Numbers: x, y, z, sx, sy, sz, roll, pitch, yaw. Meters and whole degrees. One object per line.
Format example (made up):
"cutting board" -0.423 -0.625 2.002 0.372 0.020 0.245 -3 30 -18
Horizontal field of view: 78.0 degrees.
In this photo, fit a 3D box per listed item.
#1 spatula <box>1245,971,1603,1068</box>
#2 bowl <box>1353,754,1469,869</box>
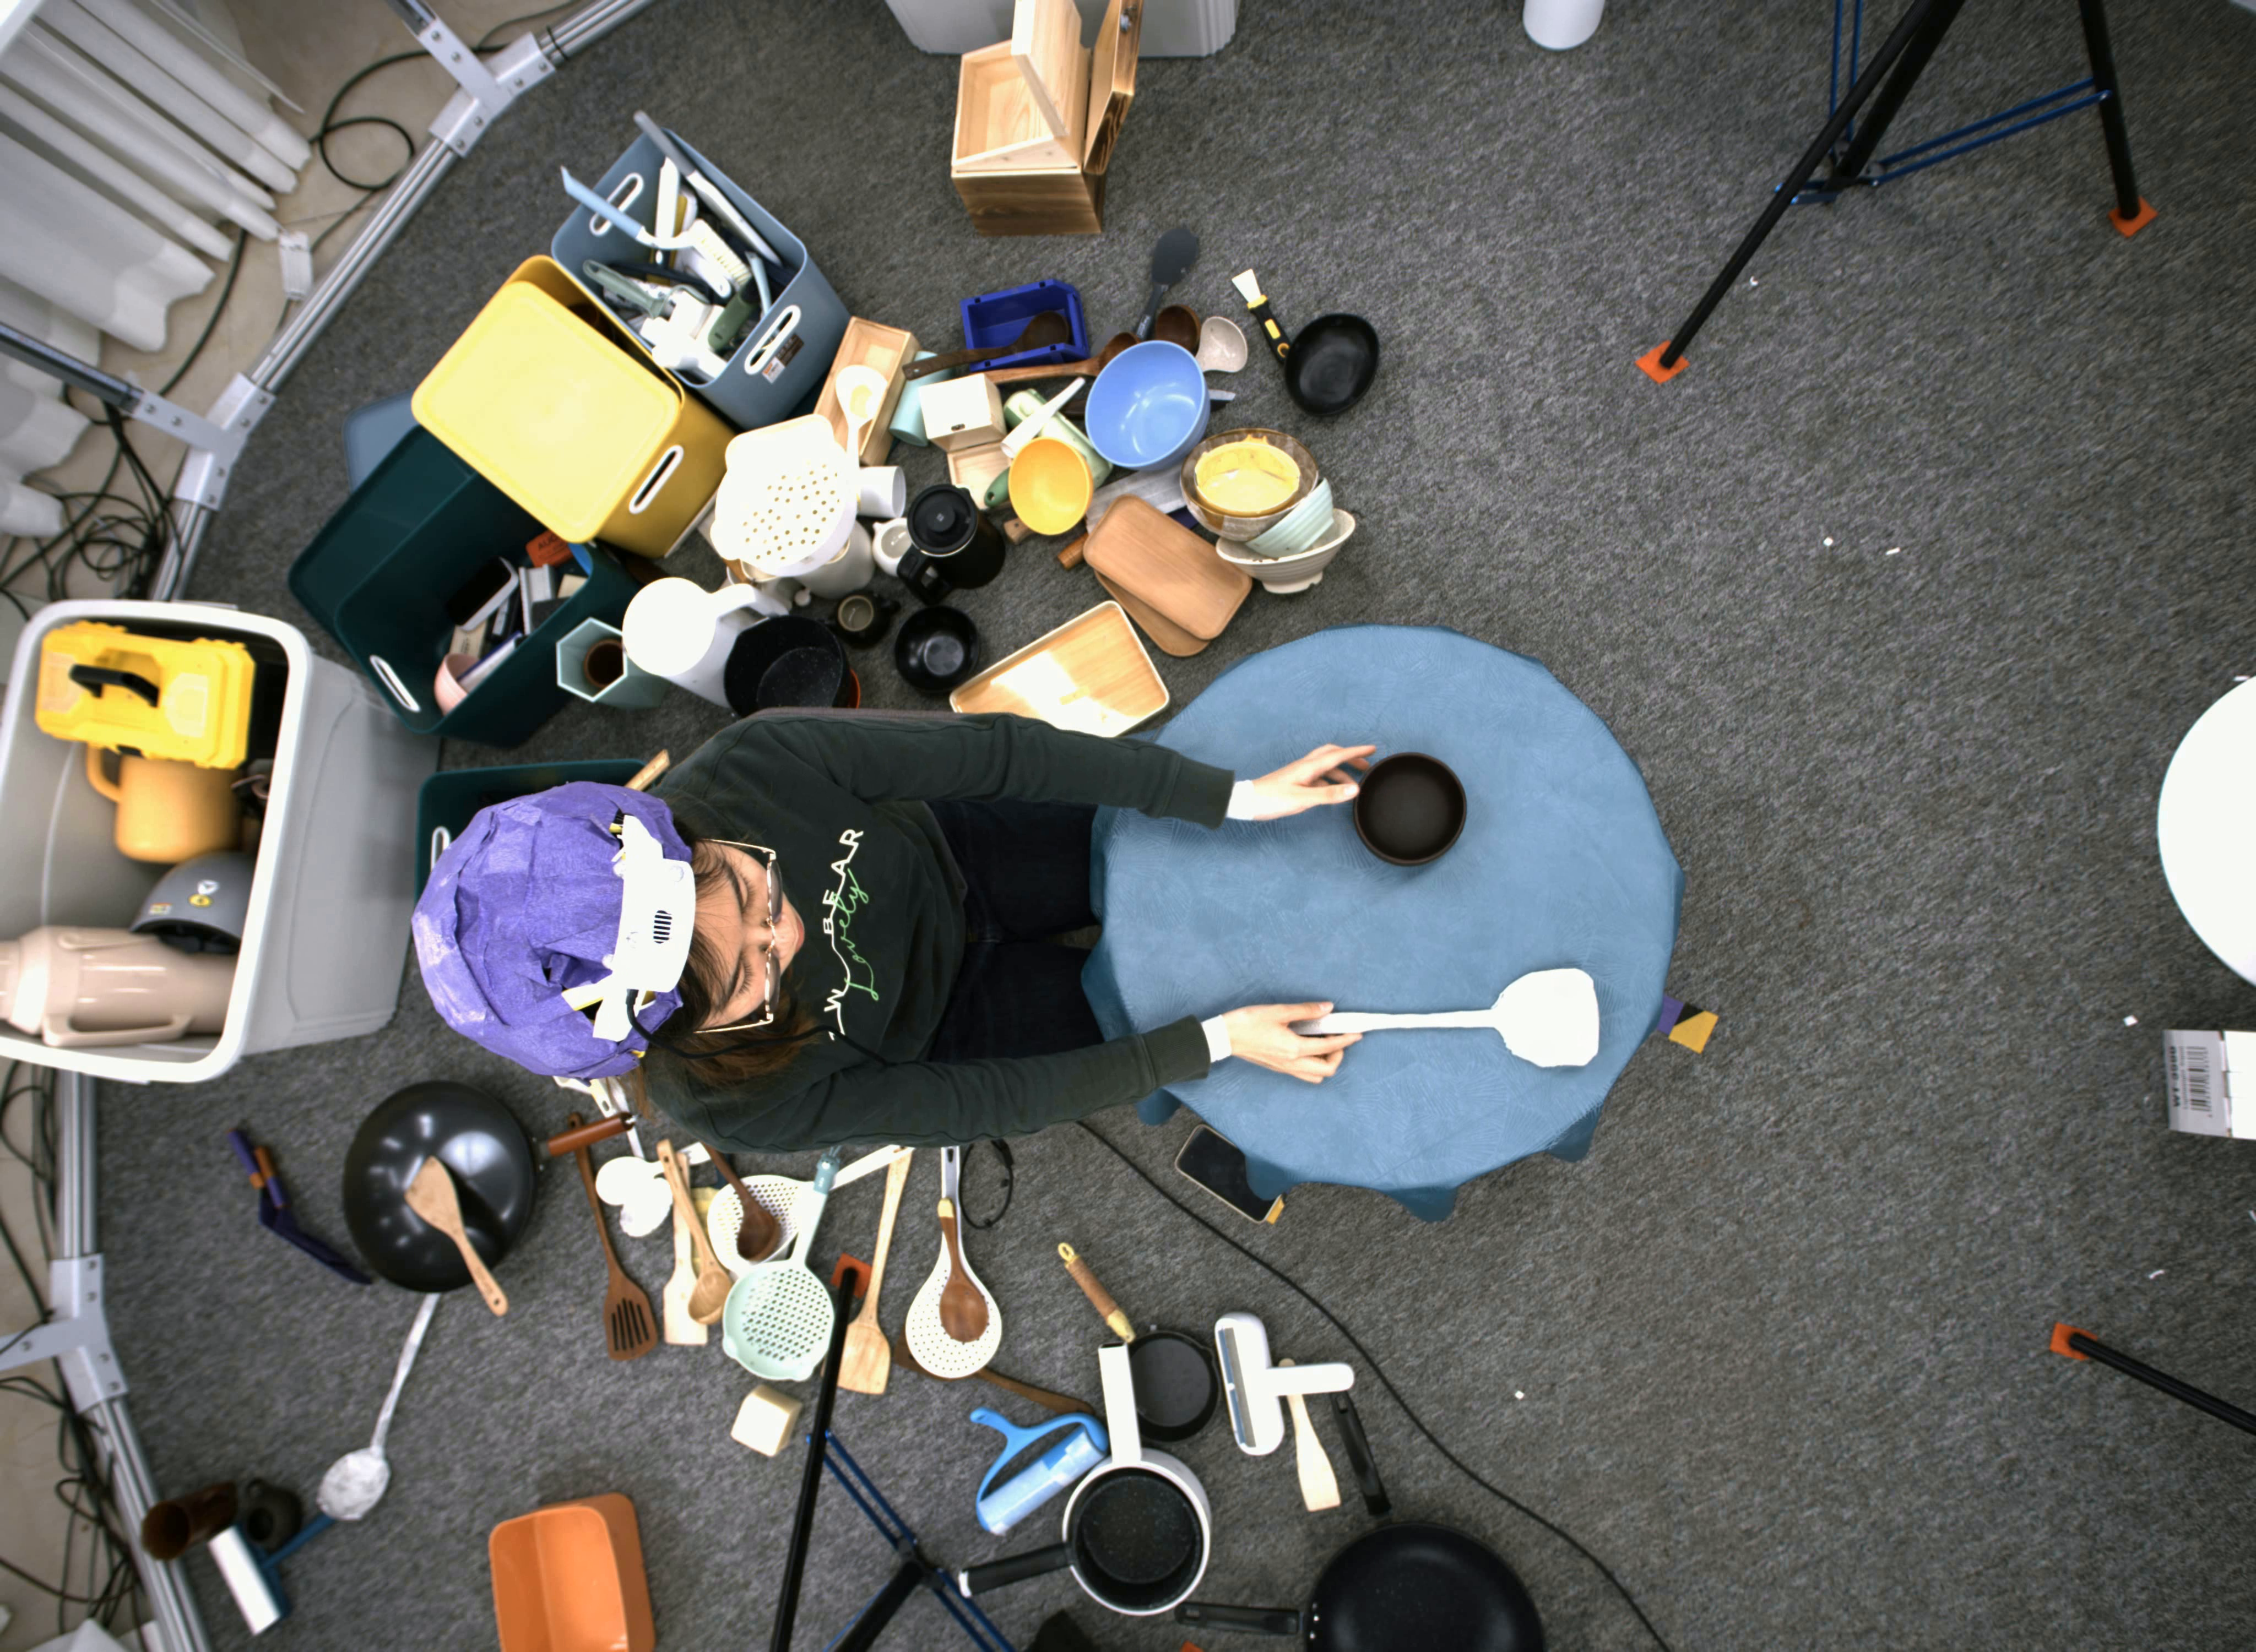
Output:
"spatula" 0.301 0.199 1.431 0.366 0.045 0.098 -2 87 10
"bowl" 0.293 -0.014 1.430 0.118 0.070 0.117 -1 84 11
